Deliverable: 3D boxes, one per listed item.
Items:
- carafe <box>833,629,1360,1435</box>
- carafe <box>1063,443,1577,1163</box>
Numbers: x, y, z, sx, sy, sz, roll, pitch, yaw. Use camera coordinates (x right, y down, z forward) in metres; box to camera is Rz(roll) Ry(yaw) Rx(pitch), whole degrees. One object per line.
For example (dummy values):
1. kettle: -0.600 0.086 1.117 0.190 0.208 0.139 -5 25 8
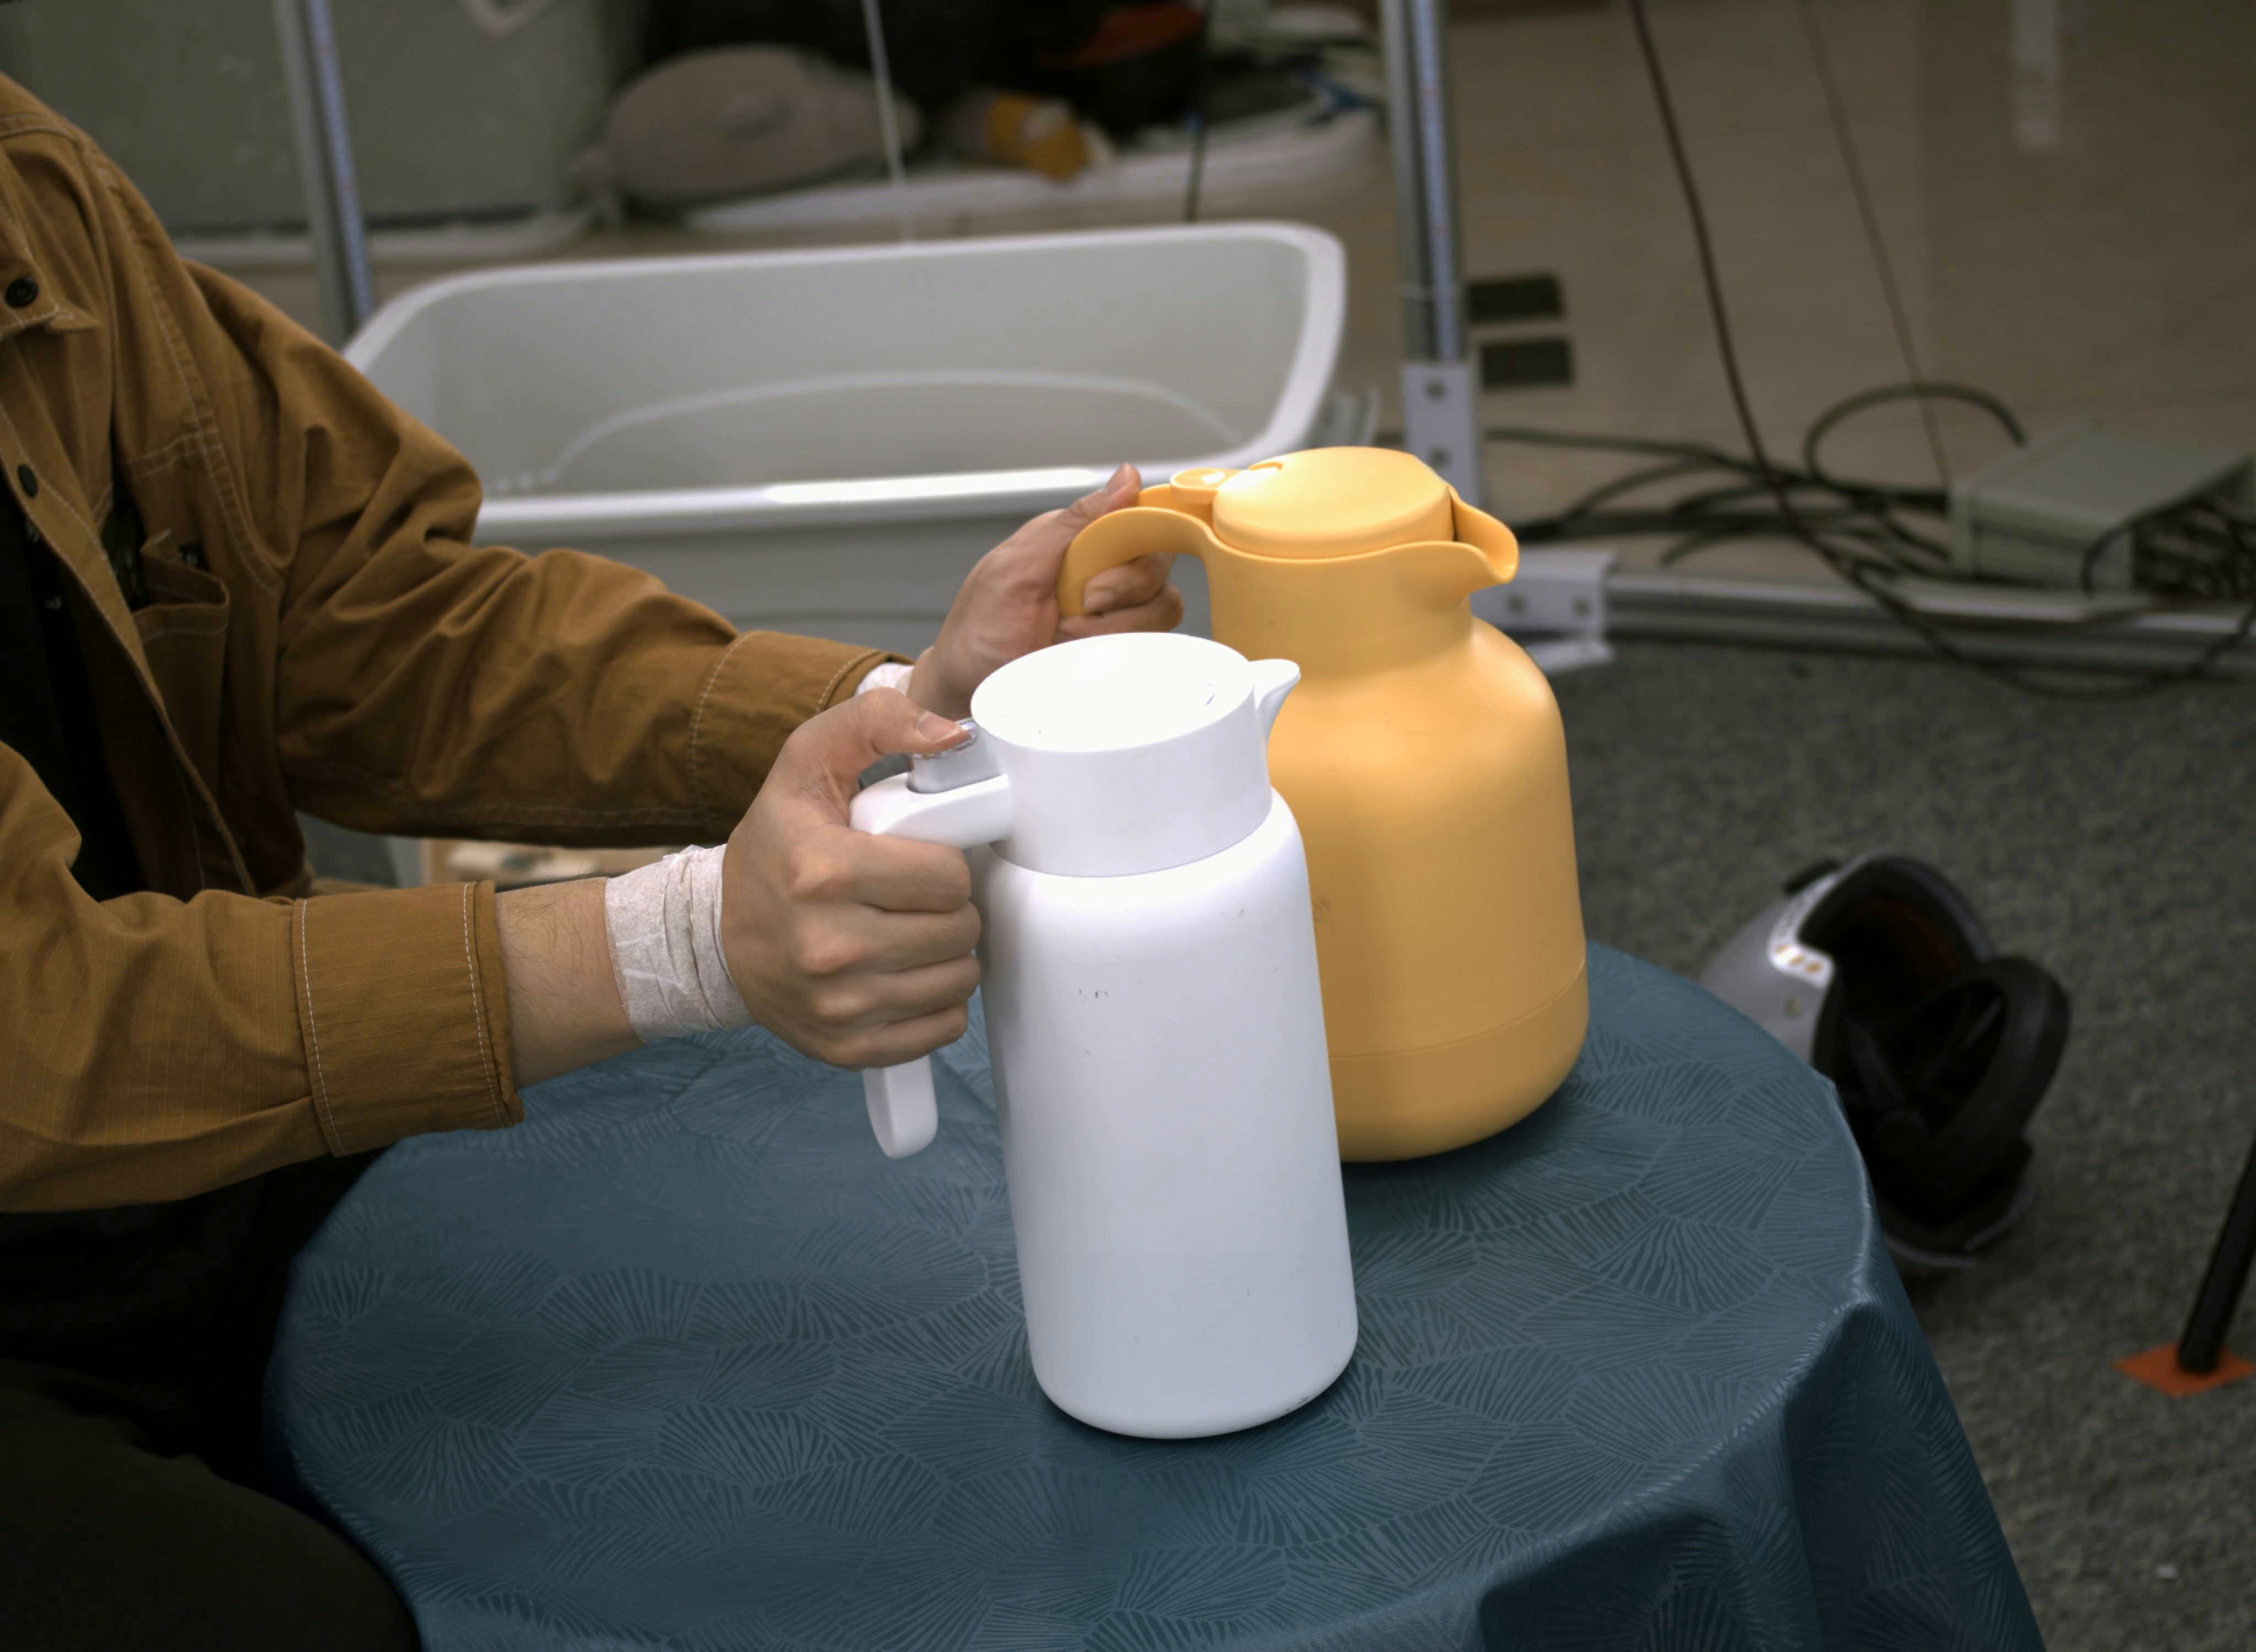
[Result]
1. carafe: -0.005 0.077 1.962 0.172 0.273 0.122 -17 30 -17
2. carafe: 0.070 -0.017 2.151 0.201 0.264 0.162 12 29 31
